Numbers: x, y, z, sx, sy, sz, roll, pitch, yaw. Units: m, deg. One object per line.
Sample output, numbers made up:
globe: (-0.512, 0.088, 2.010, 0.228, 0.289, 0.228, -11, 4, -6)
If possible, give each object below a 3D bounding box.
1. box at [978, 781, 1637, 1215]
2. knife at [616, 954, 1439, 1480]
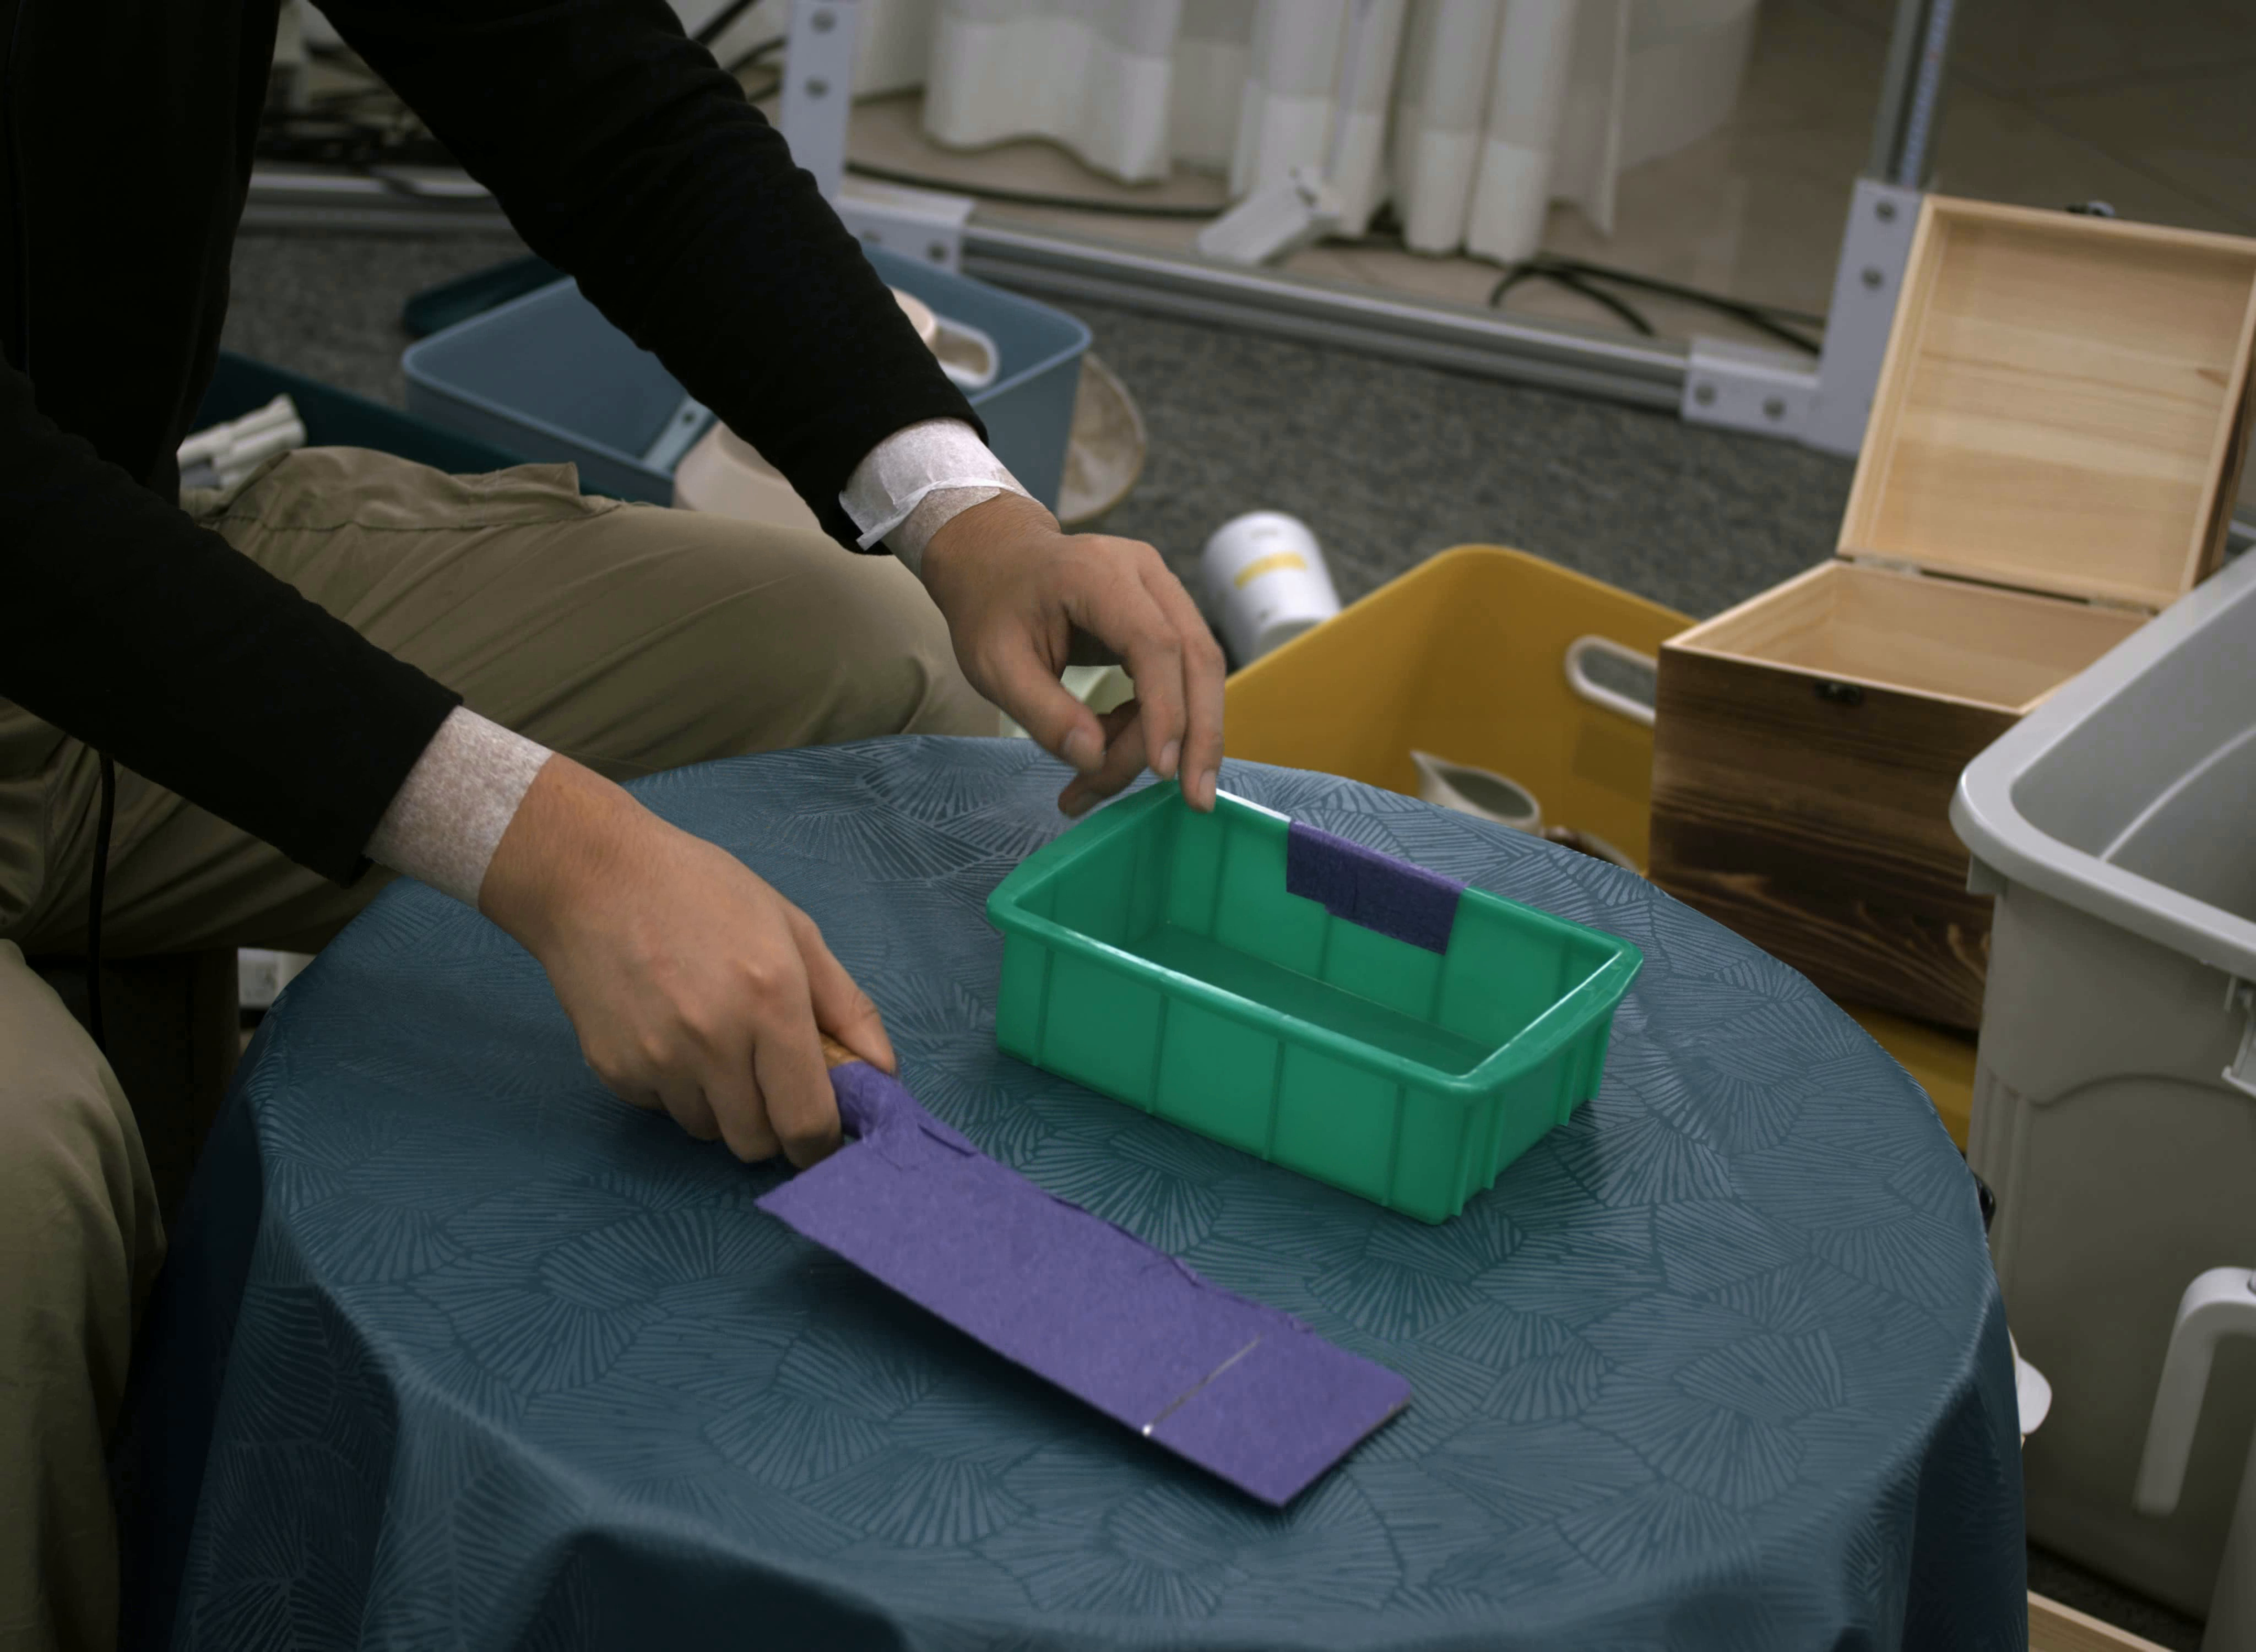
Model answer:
box: (0.060, 0.060, 1.871, 0.211, 0.065, 0.138, 18, 28, 26)
knife: (-0.053, 0.124, 1.727, 0.317, 0.032, 0.103, 25, 28, 25)
